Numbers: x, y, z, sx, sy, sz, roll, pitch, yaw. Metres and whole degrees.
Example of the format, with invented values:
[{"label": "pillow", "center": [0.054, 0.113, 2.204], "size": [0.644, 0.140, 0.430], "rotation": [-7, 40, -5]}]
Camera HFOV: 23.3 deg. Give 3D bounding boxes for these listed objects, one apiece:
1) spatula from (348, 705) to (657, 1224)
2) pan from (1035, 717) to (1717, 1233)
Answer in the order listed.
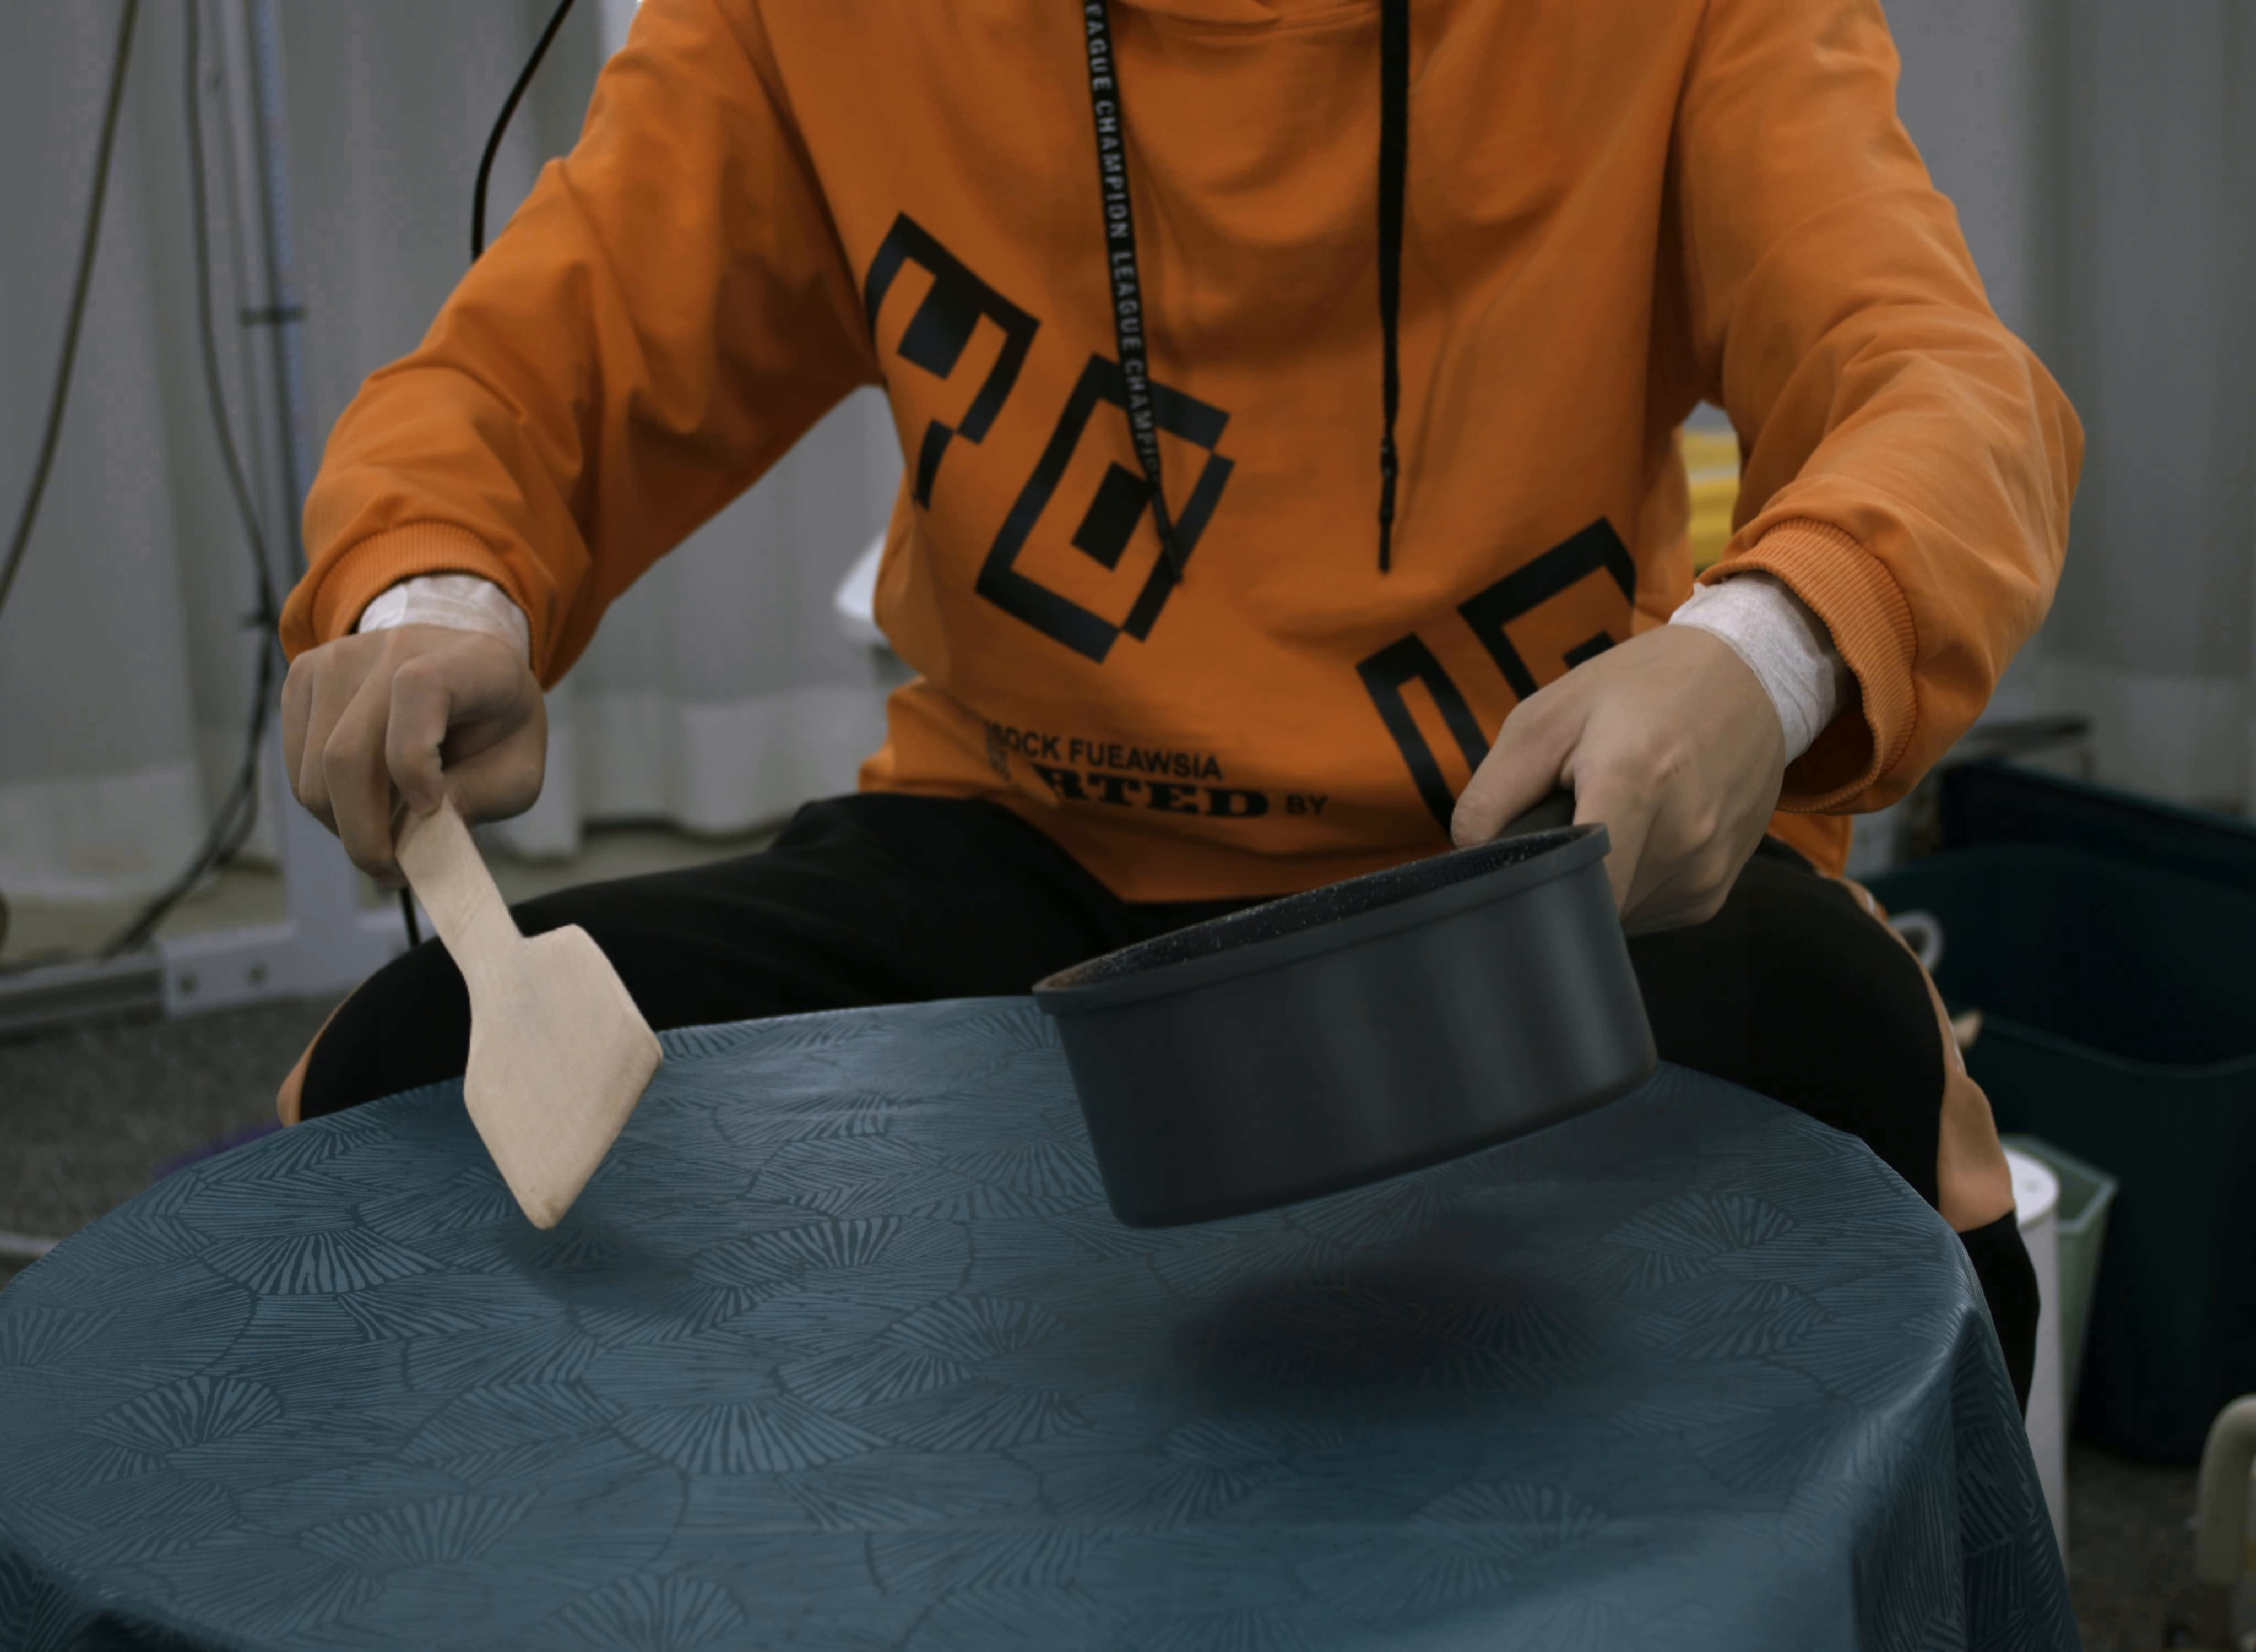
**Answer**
[{"label": "spatula", "center": [-0.210, 0.029, 1.762], "size": [0.010, 0.072, 0.297], "rotation": [25, 14, -31]}, {"label": "pan", "center": [0.103, 0.040, 1.630], "size": [0.172, 0.086, 0.329], "rotation": [-14, 4, 32]}]
